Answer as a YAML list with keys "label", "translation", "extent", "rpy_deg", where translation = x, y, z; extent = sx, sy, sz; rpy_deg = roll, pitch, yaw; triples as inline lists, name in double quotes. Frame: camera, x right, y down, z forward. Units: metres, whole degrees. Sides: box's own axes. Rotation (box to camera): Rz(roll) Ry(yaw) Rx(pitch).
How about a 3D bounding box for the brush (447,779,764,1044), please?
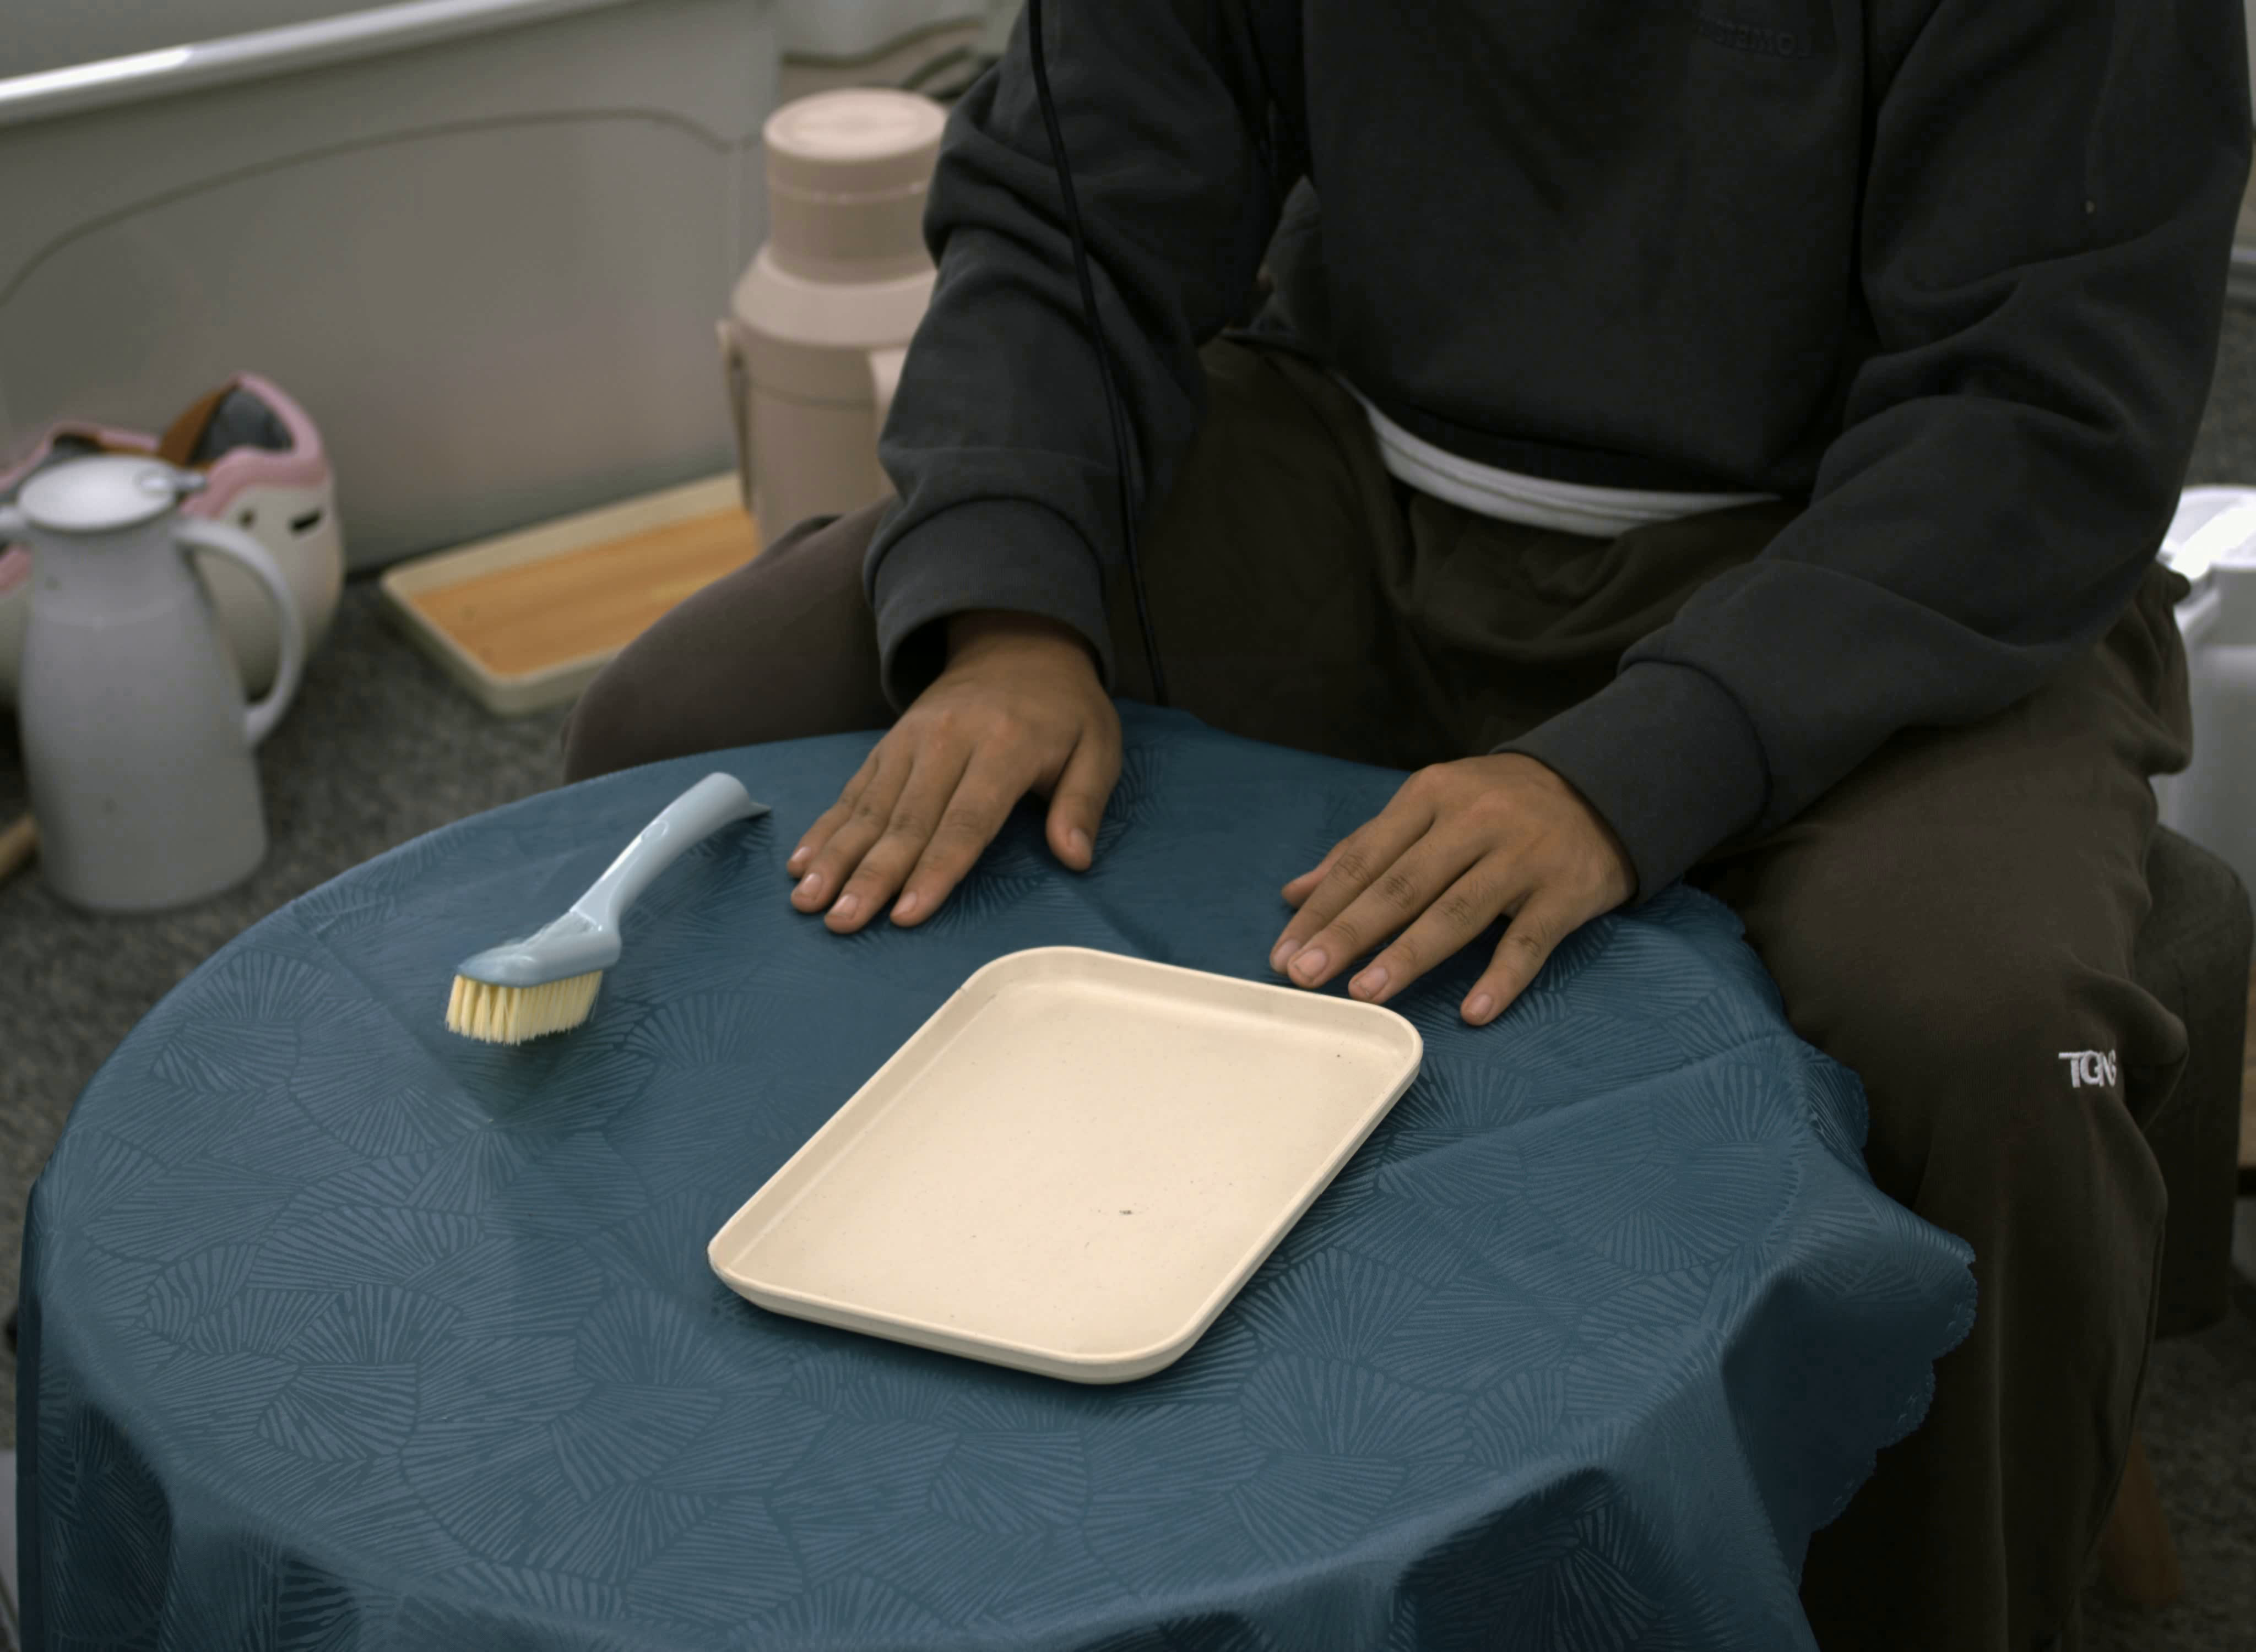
- label: "brush"
  translation: [-0.185, 0.031, 2.023]
  extent: [0.037, 0.049, 0.232]
  rpy_deg: [13, 22, 15]

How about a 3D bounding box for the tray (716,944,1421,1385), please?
- label: "tray"
  translation: [-0.017, 0.111, 1.867]
  extent: [0.170, 0.017, 0.243]
  rpy_deg: [11, 30, 23]
